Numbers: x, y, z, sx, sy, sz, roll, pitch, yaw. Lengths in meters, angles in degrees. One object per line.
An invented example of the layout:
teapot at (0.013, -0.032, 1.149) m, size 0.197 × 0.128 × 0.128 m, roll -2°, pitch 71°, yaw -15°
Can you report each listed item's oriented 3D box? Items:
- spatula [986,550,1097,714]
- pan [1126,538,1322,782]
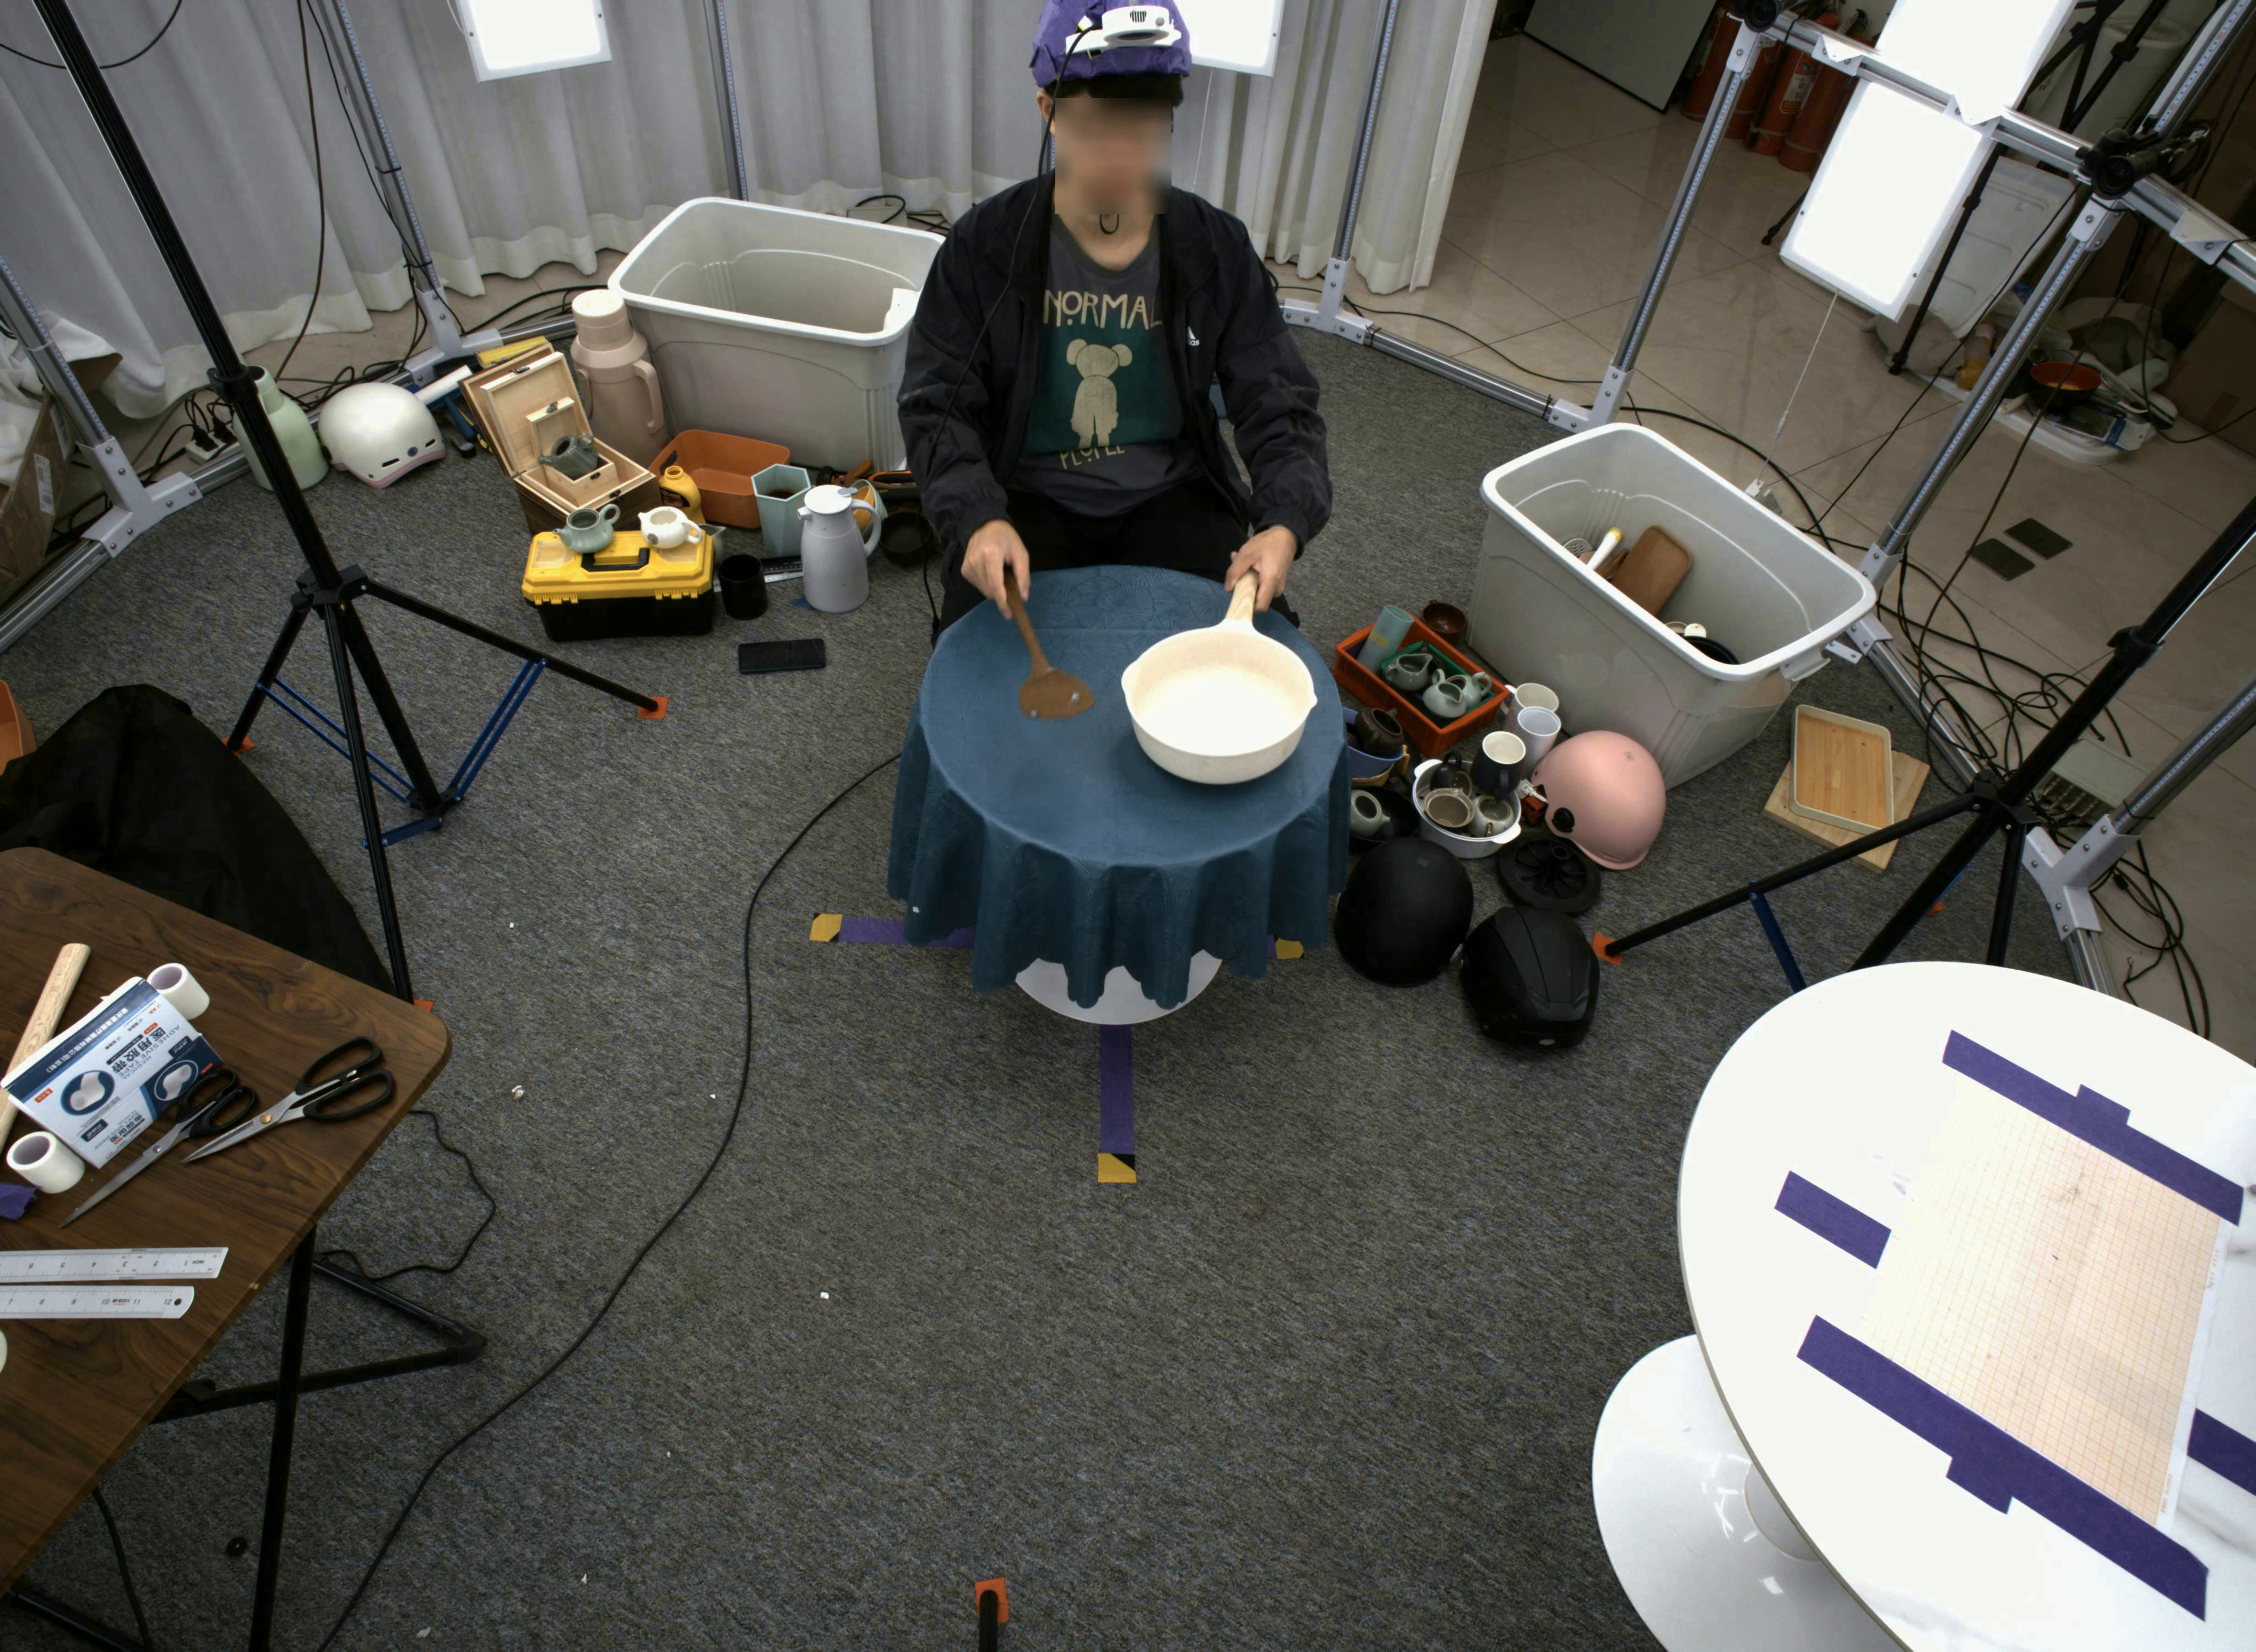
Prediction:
spatula at (-0.136, -0.273, 1.738) m, size 0.096 × 0.015 × 0.395 m, roll -12°, pitch 45°, yaw -12°
pan at (0.149, -0.232, 1.792) m, size 0.264 × 0.099 × 0.444 m, roll 7°, pitch 48°, yaw 12°
